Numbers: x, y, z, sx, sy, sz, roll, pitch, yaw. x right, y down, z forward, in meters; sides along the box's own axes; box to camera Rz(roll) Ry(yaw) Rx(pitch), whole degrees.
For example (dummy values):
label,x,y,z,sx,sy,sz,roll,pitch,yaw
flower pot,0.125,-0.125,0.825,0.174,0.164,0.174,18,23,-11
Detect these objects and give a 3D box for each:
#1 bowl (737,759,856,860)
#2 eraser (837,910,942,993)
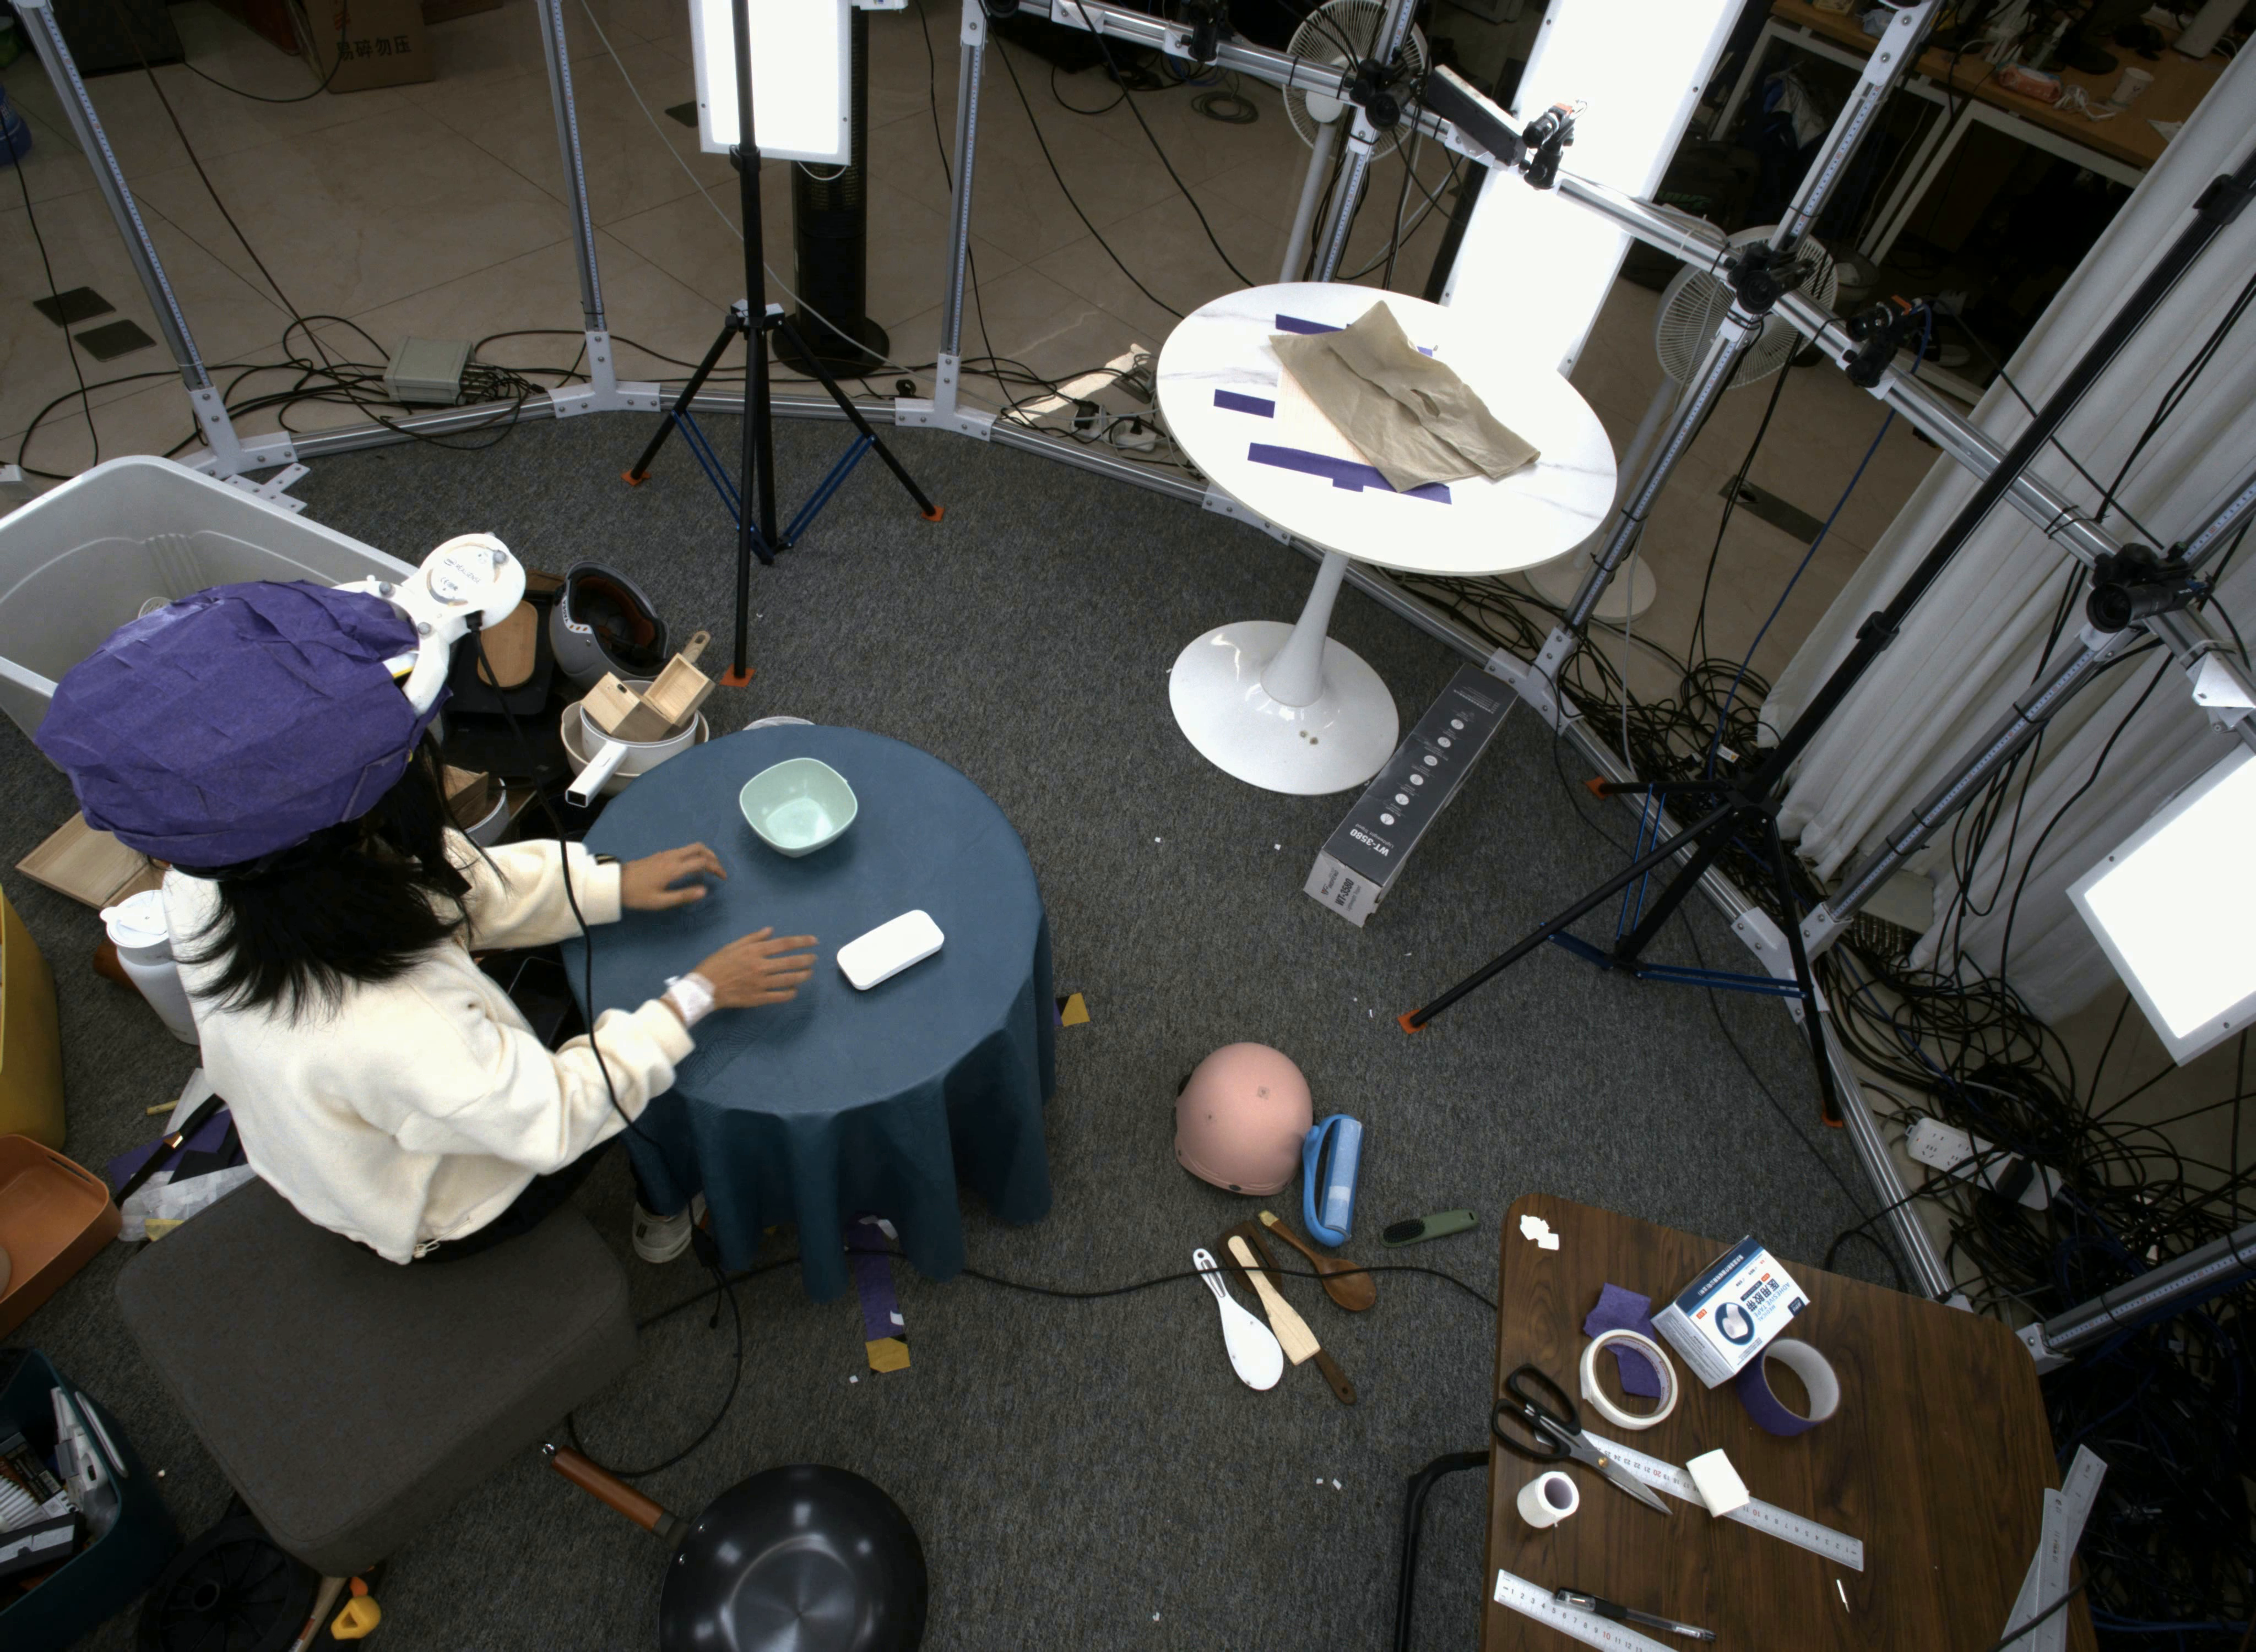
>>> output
label,x,y,z,sx,sy,sz,roll,pitch,yaw
bowl,-0.431,-0.013,1.692,0.151,0.060,0.148,7,51,-7
eraser,-0.297,0.152,1.619,0.132,0.035,0.062,-29,65,-31
